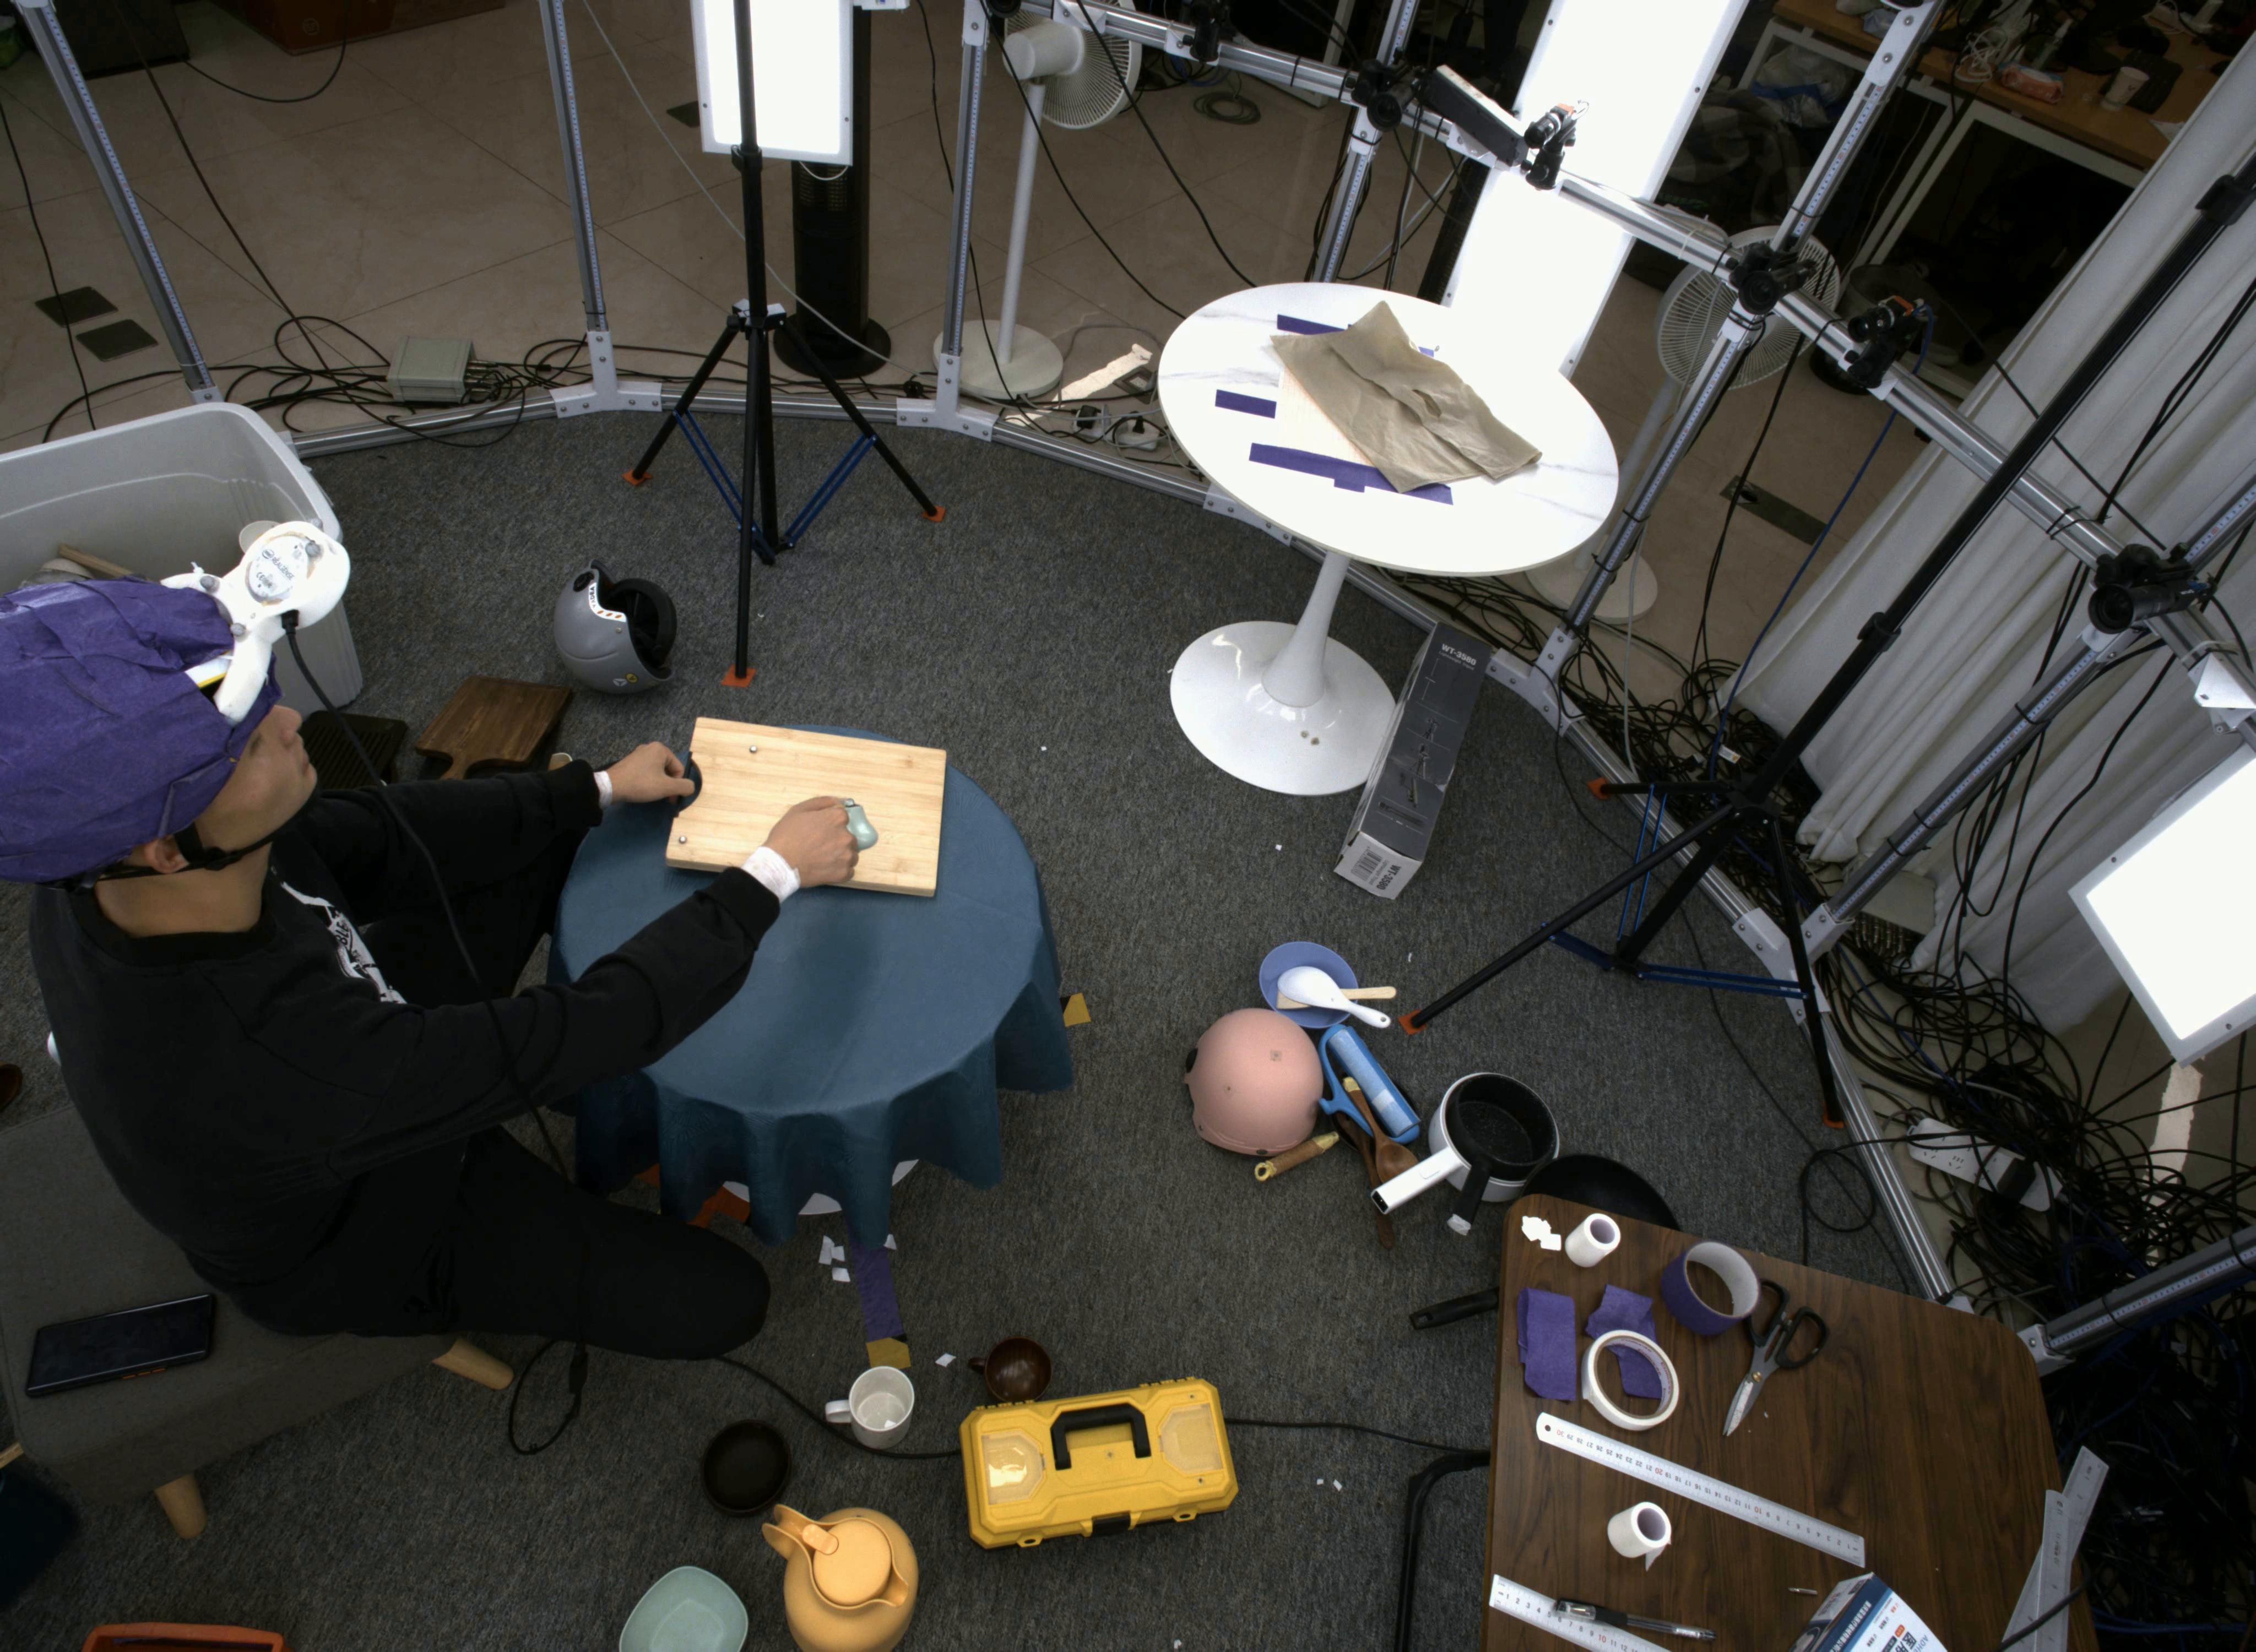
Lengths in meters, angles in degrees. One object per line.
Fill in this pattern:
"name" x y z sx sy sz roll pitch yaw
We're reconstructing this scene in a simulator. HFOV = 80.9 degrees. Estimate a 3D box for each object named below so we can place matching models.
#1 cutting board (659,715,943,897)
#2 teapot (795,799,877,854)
"cutting board" -0.424 -0.029 1.718 0.350 0.024 0.246 7 52 -15
"teapot" -0.349 0.000 1.546 0.096 0.135 0.062 -2 94 -11
